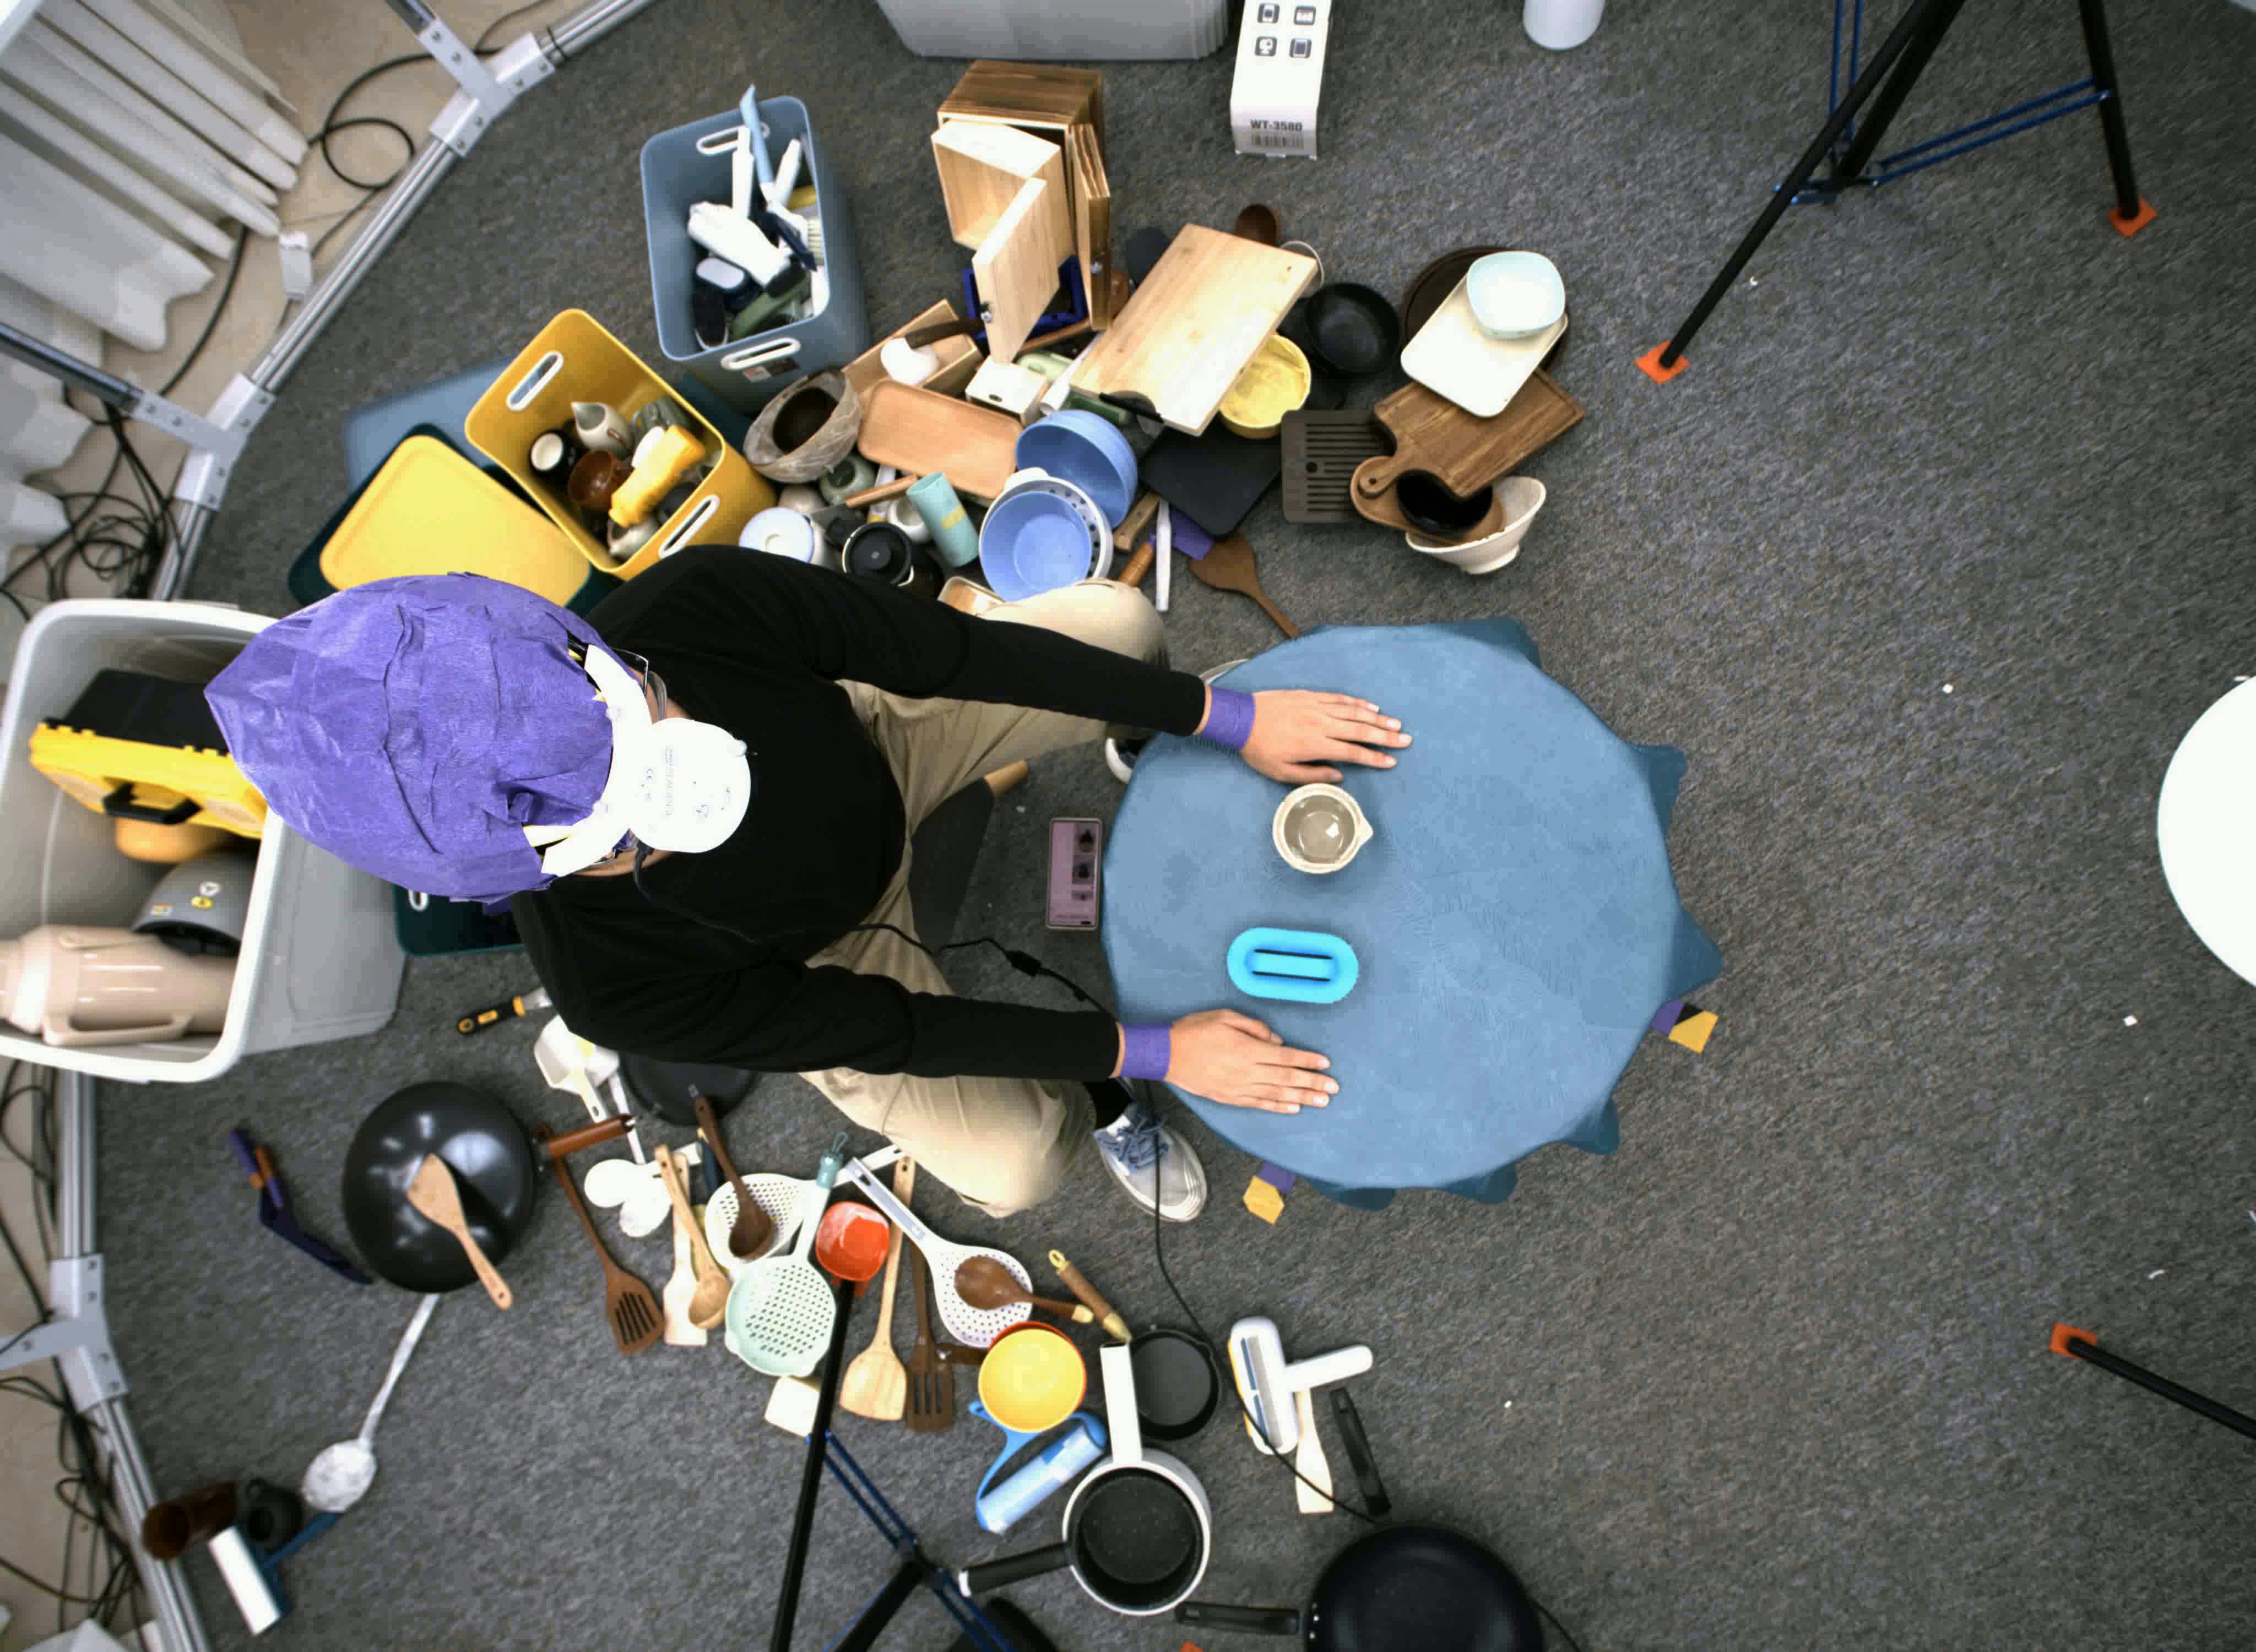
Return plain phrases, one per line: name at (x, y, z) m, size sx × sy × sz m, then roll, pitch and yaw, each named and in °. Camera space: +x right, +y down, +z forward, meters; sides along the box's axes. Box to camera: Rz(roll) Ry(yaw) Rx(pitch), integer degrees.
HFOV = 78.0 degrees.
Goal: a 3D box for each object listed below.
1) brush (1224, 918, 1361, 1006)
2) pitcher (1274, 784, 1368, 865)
brush at (0.169, 0.141, 1.440) m, size 0.142 × 0.063 × 0.084 m, roll 6°, pitch 91°, yaw 12°
pitcher at (0.200, 0.002, 1.438) m, size 0.096 × 0.071 × 0.083 m, roll 10°, pitch 86°, yaw 9°
